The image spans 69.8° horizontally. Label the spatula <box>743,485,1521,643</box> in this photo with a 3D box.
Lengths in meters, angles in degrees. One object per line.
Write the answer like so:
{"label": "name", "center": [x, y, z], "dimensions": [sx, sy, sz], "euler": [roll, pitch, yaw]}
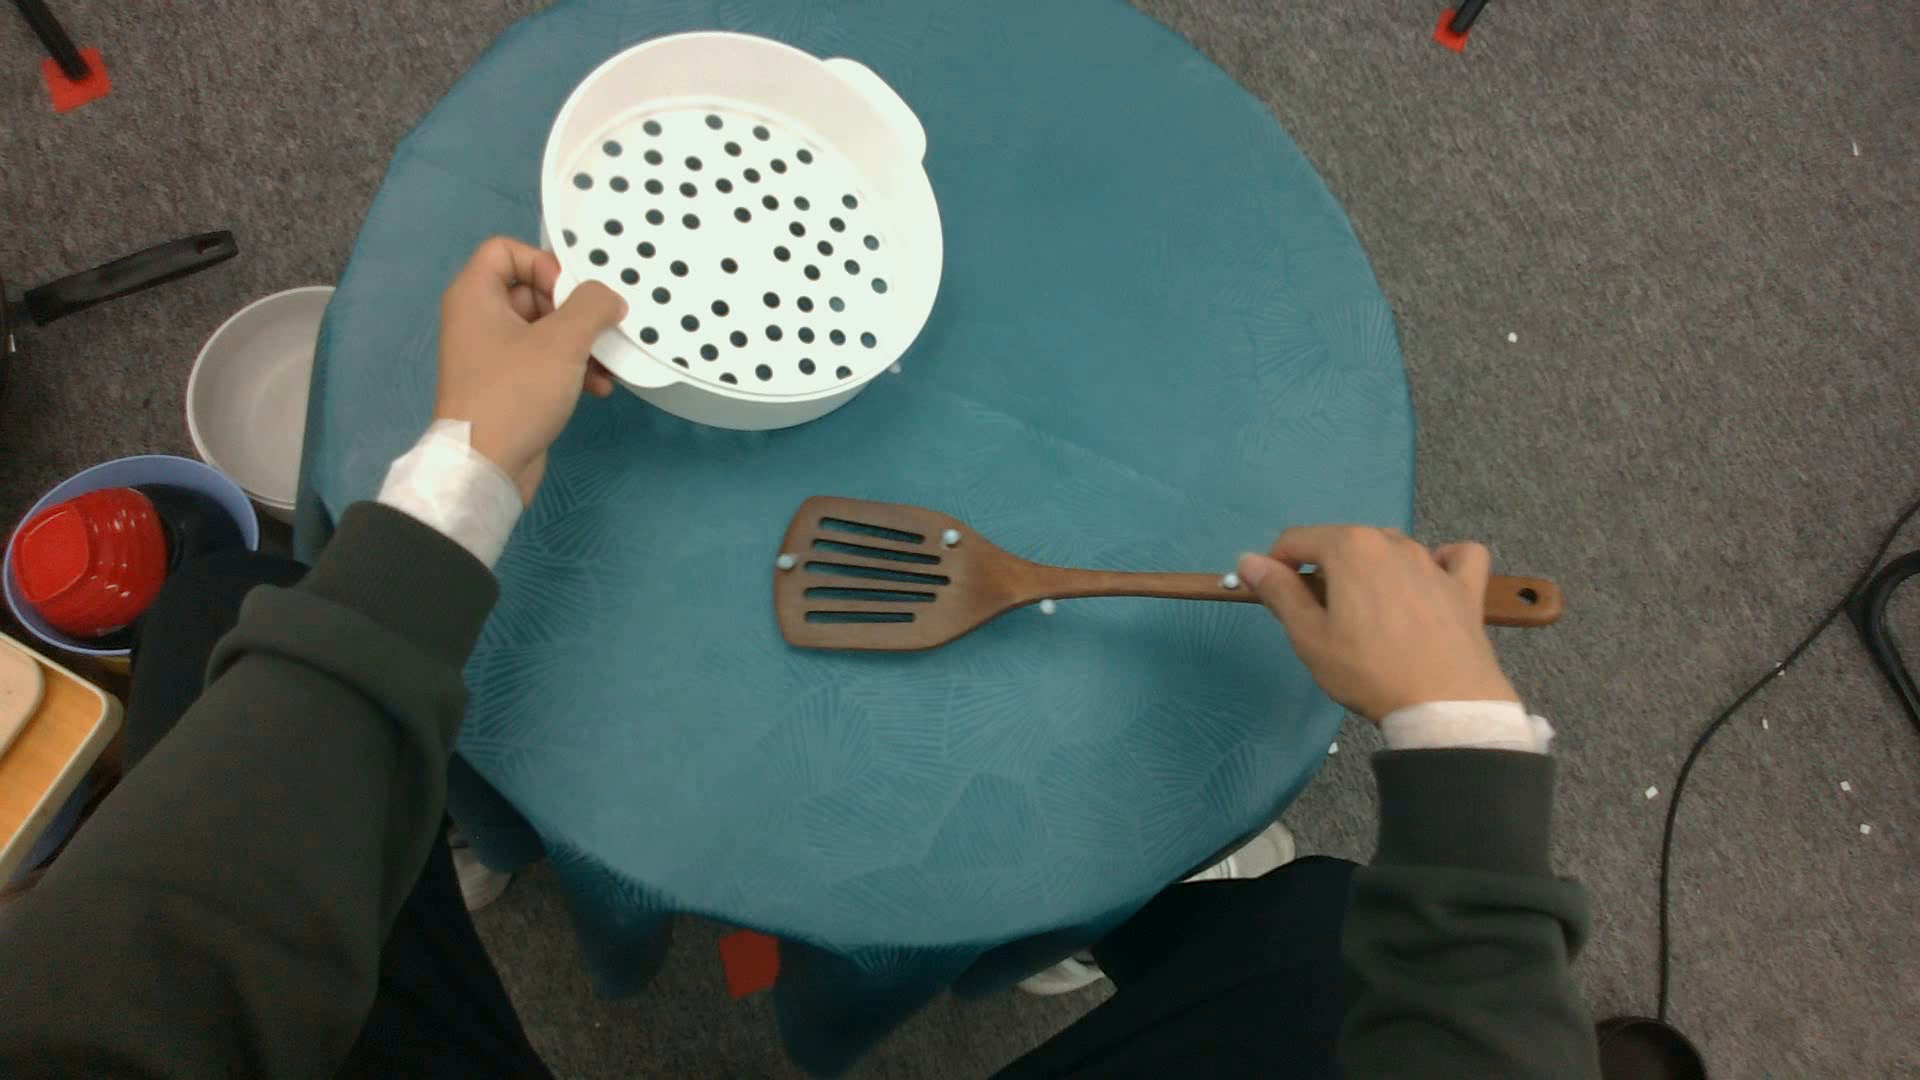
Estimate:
{"label": "spatula", "center": [0.081, 0.012, 0.693], "dimensions": [0.385, 0.023, 0.086], "euler": [0, 69, 8]}

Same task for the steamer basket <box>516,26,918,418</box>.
{"label": "steamer basket", "center": [-0.126, -0.162, 0.717], "dimensions": [0.202, 0.069, 0.231], "euler": [42, 66, -5]}
